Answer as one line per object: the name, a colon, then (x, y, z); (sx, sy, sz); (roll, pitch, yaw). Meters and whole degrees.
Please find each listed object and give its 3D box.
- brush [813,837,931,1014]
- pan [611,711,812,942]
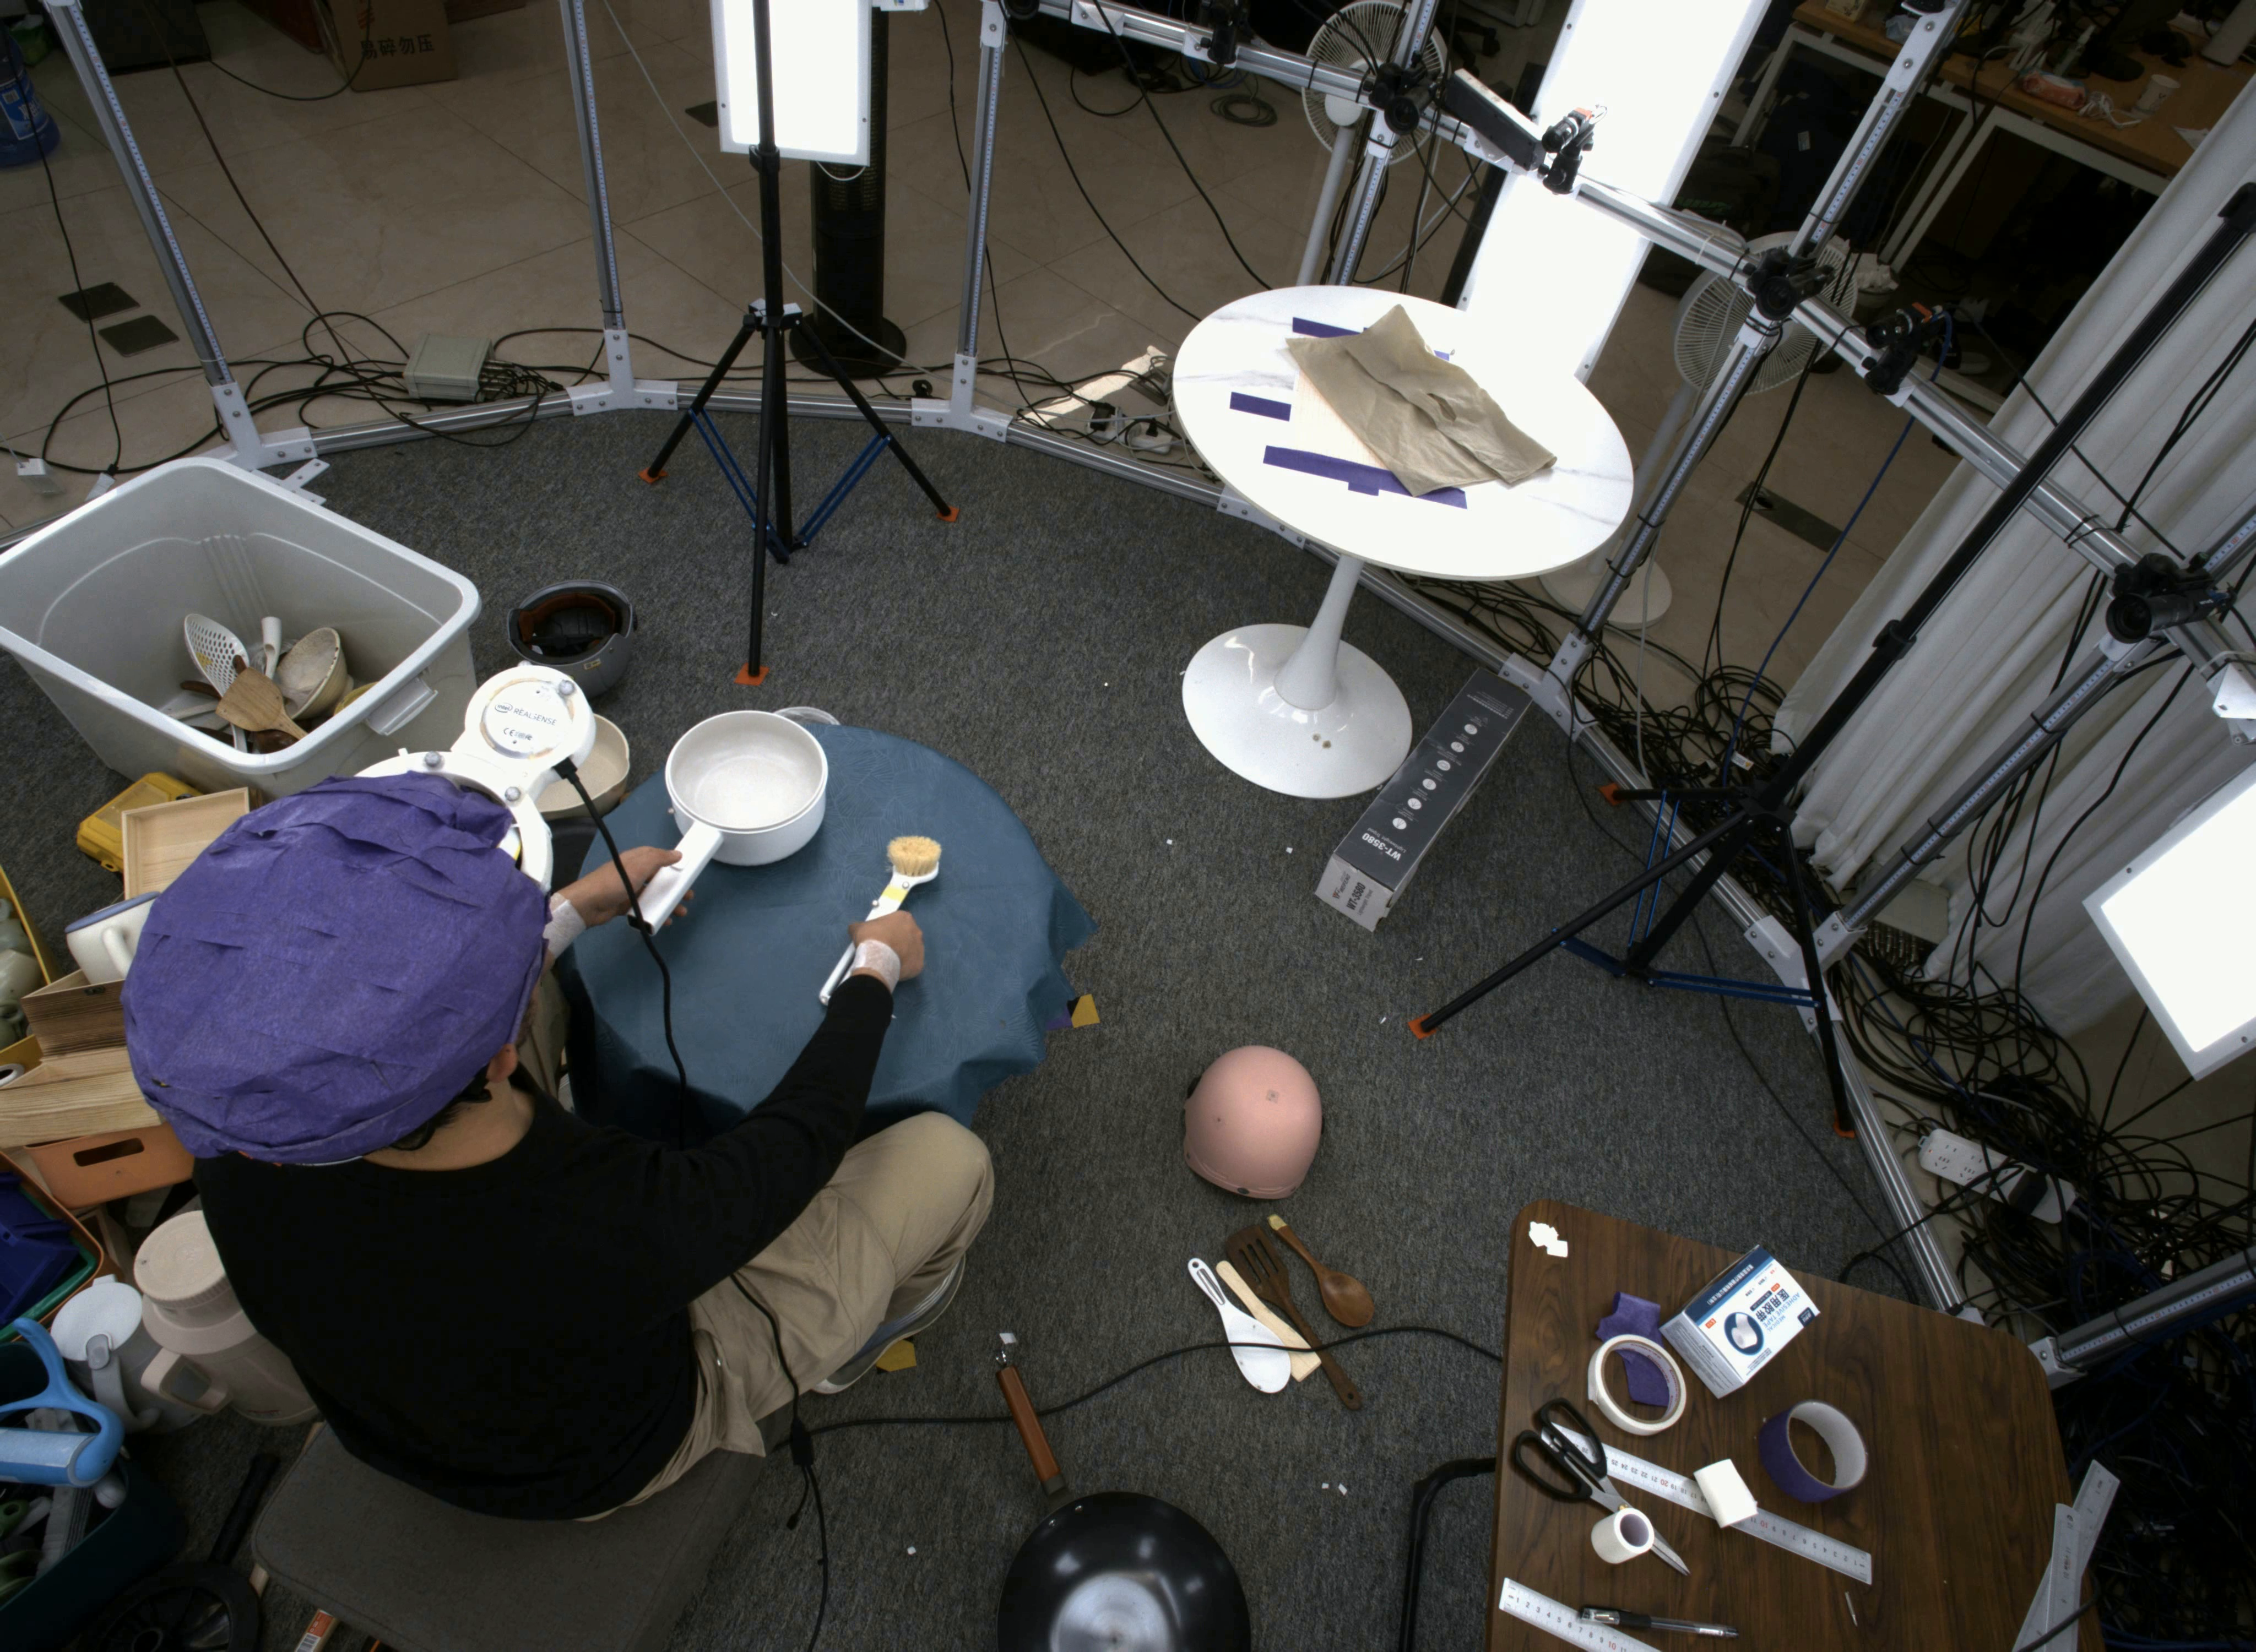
brush: (-0.324, 0.113, 1.623); (0.066, 0.058, 0.265); (13, 51, 20)
pan: (-0.533, 0.014, 1.618); (0.199, 0.104, 0.351); (22, 52, 1)
